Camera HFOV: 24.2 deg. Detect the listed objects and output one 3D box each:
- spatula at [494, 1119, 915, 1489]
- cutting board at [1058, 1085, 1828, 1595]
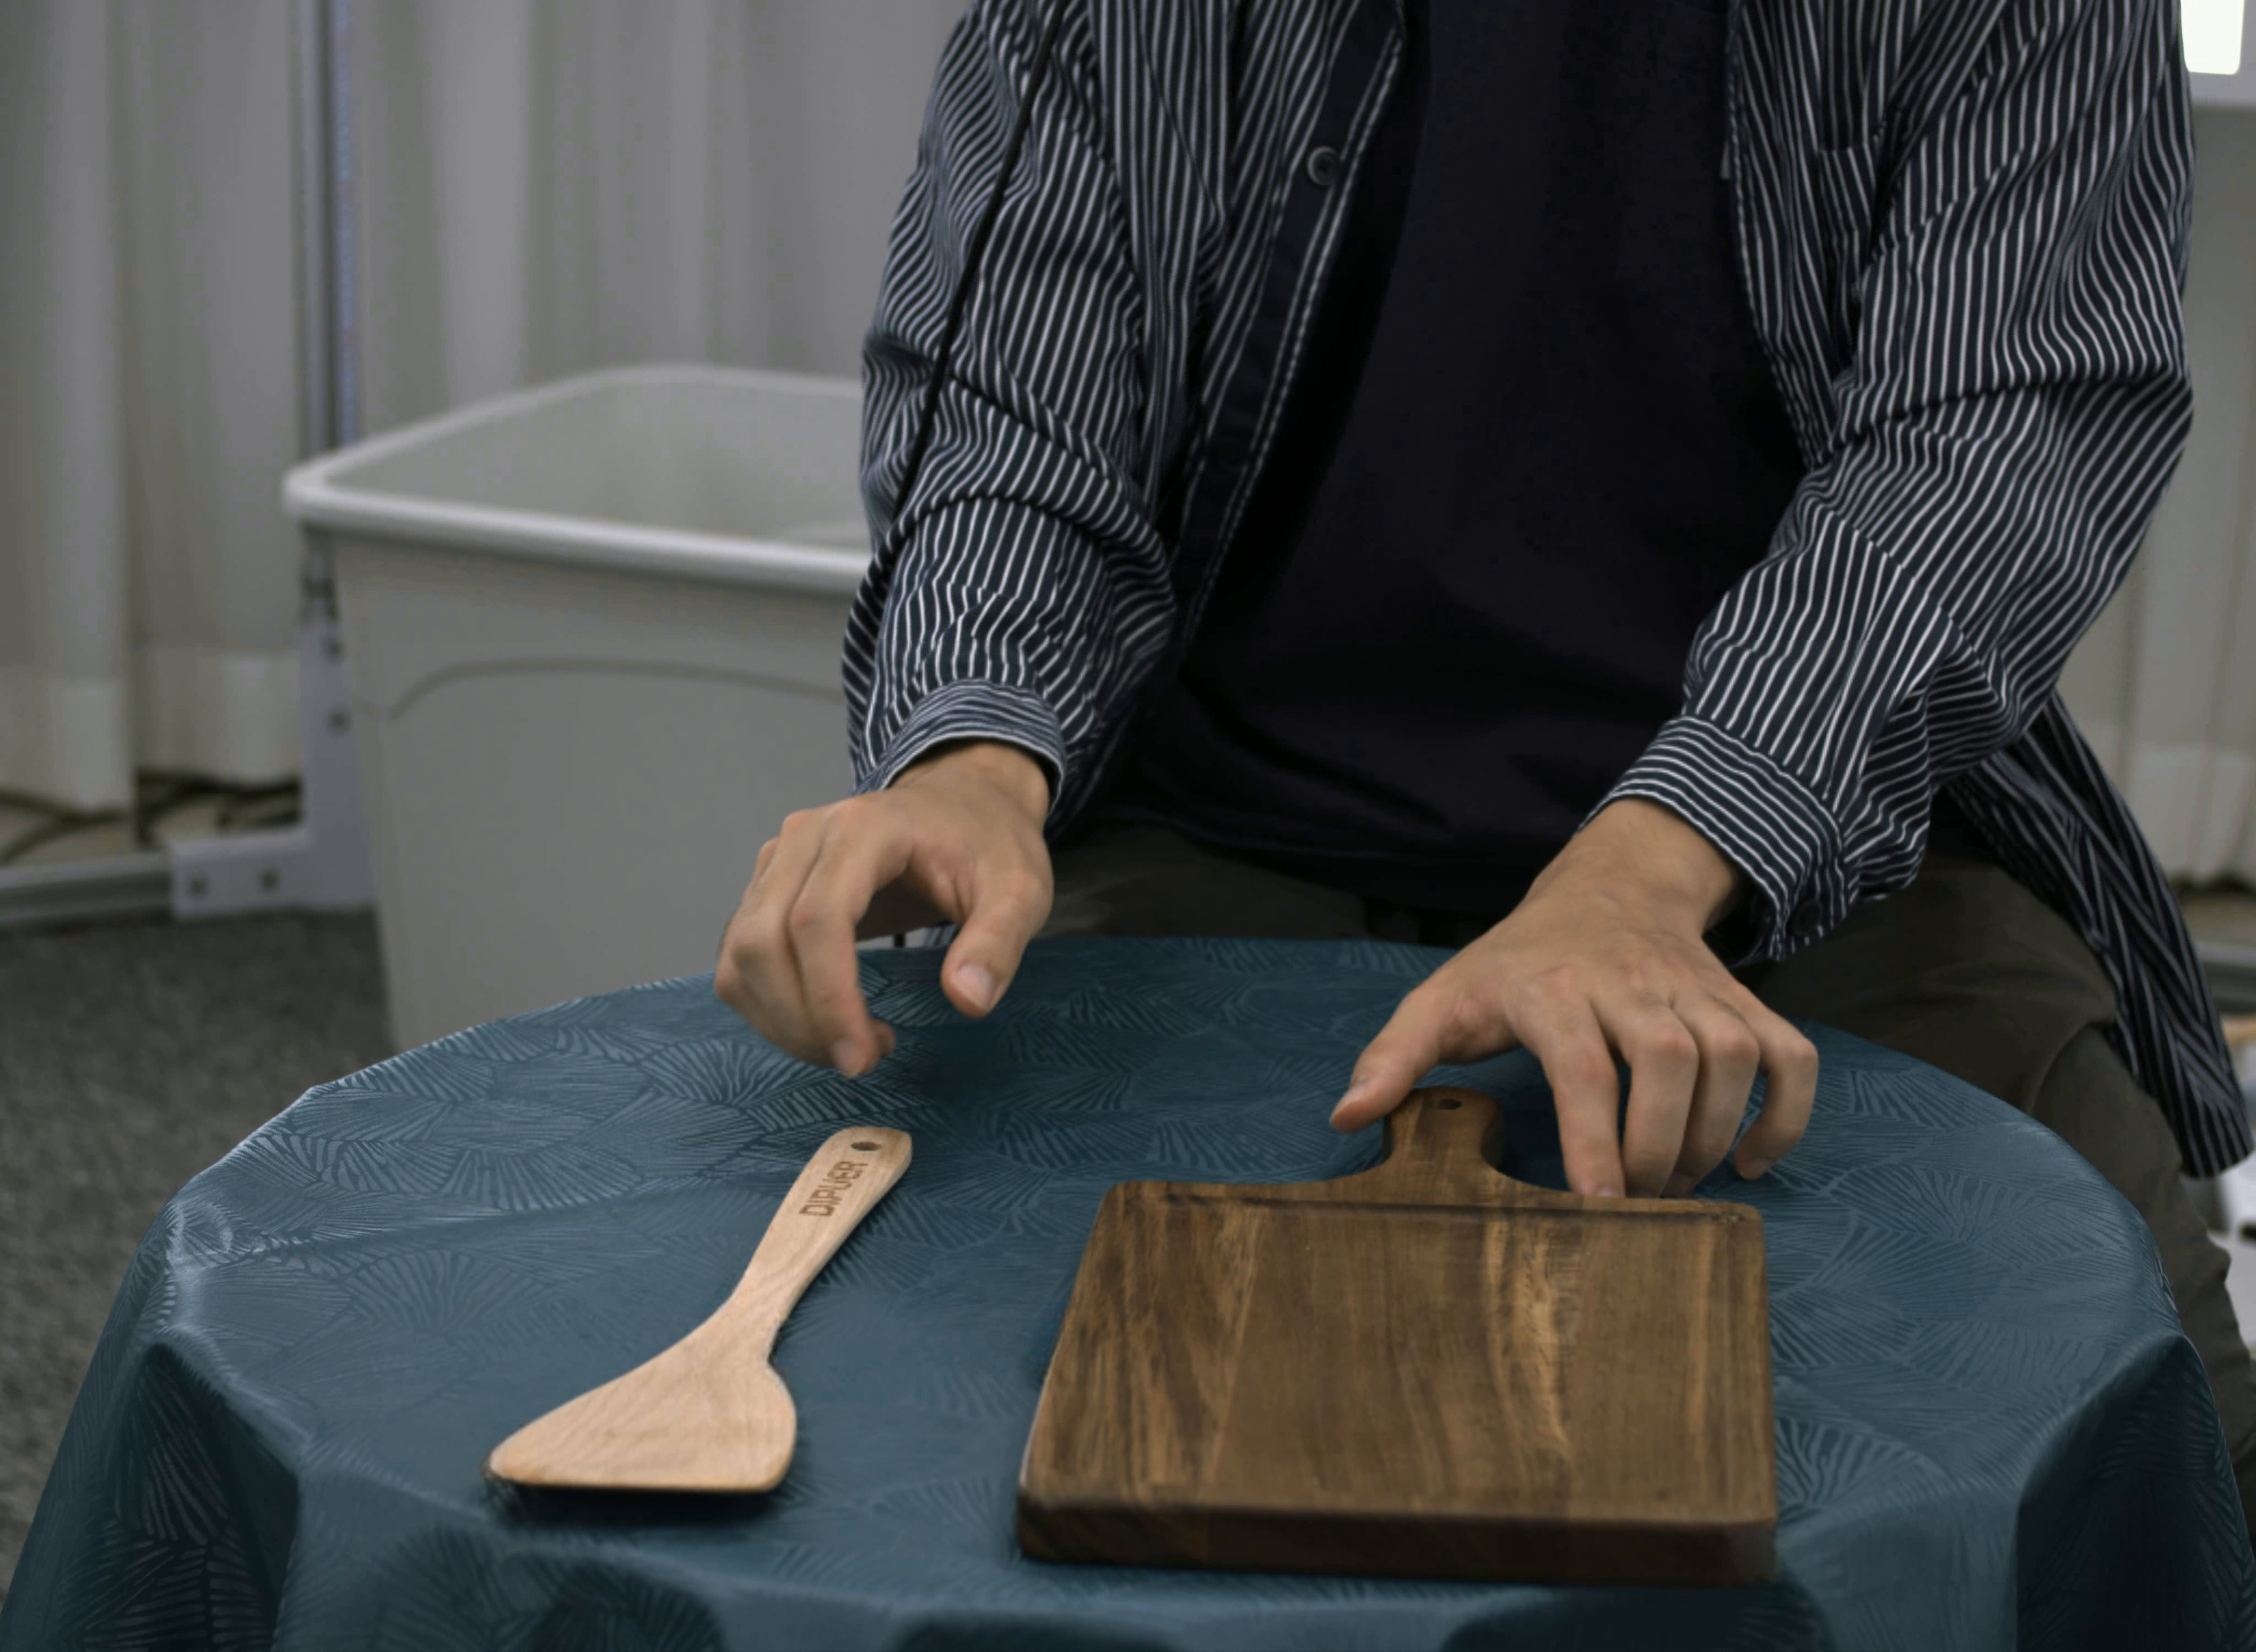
[{"bbox_3d":[-0.103,0.134,1.515,0.079,0.016,0.327,4,16,9],"label":"spatula"},{"bbox_3d":[0.096,0.137,1.502,0.200,0.023,0.351,2,15,6],"label":"cutting board"}]
